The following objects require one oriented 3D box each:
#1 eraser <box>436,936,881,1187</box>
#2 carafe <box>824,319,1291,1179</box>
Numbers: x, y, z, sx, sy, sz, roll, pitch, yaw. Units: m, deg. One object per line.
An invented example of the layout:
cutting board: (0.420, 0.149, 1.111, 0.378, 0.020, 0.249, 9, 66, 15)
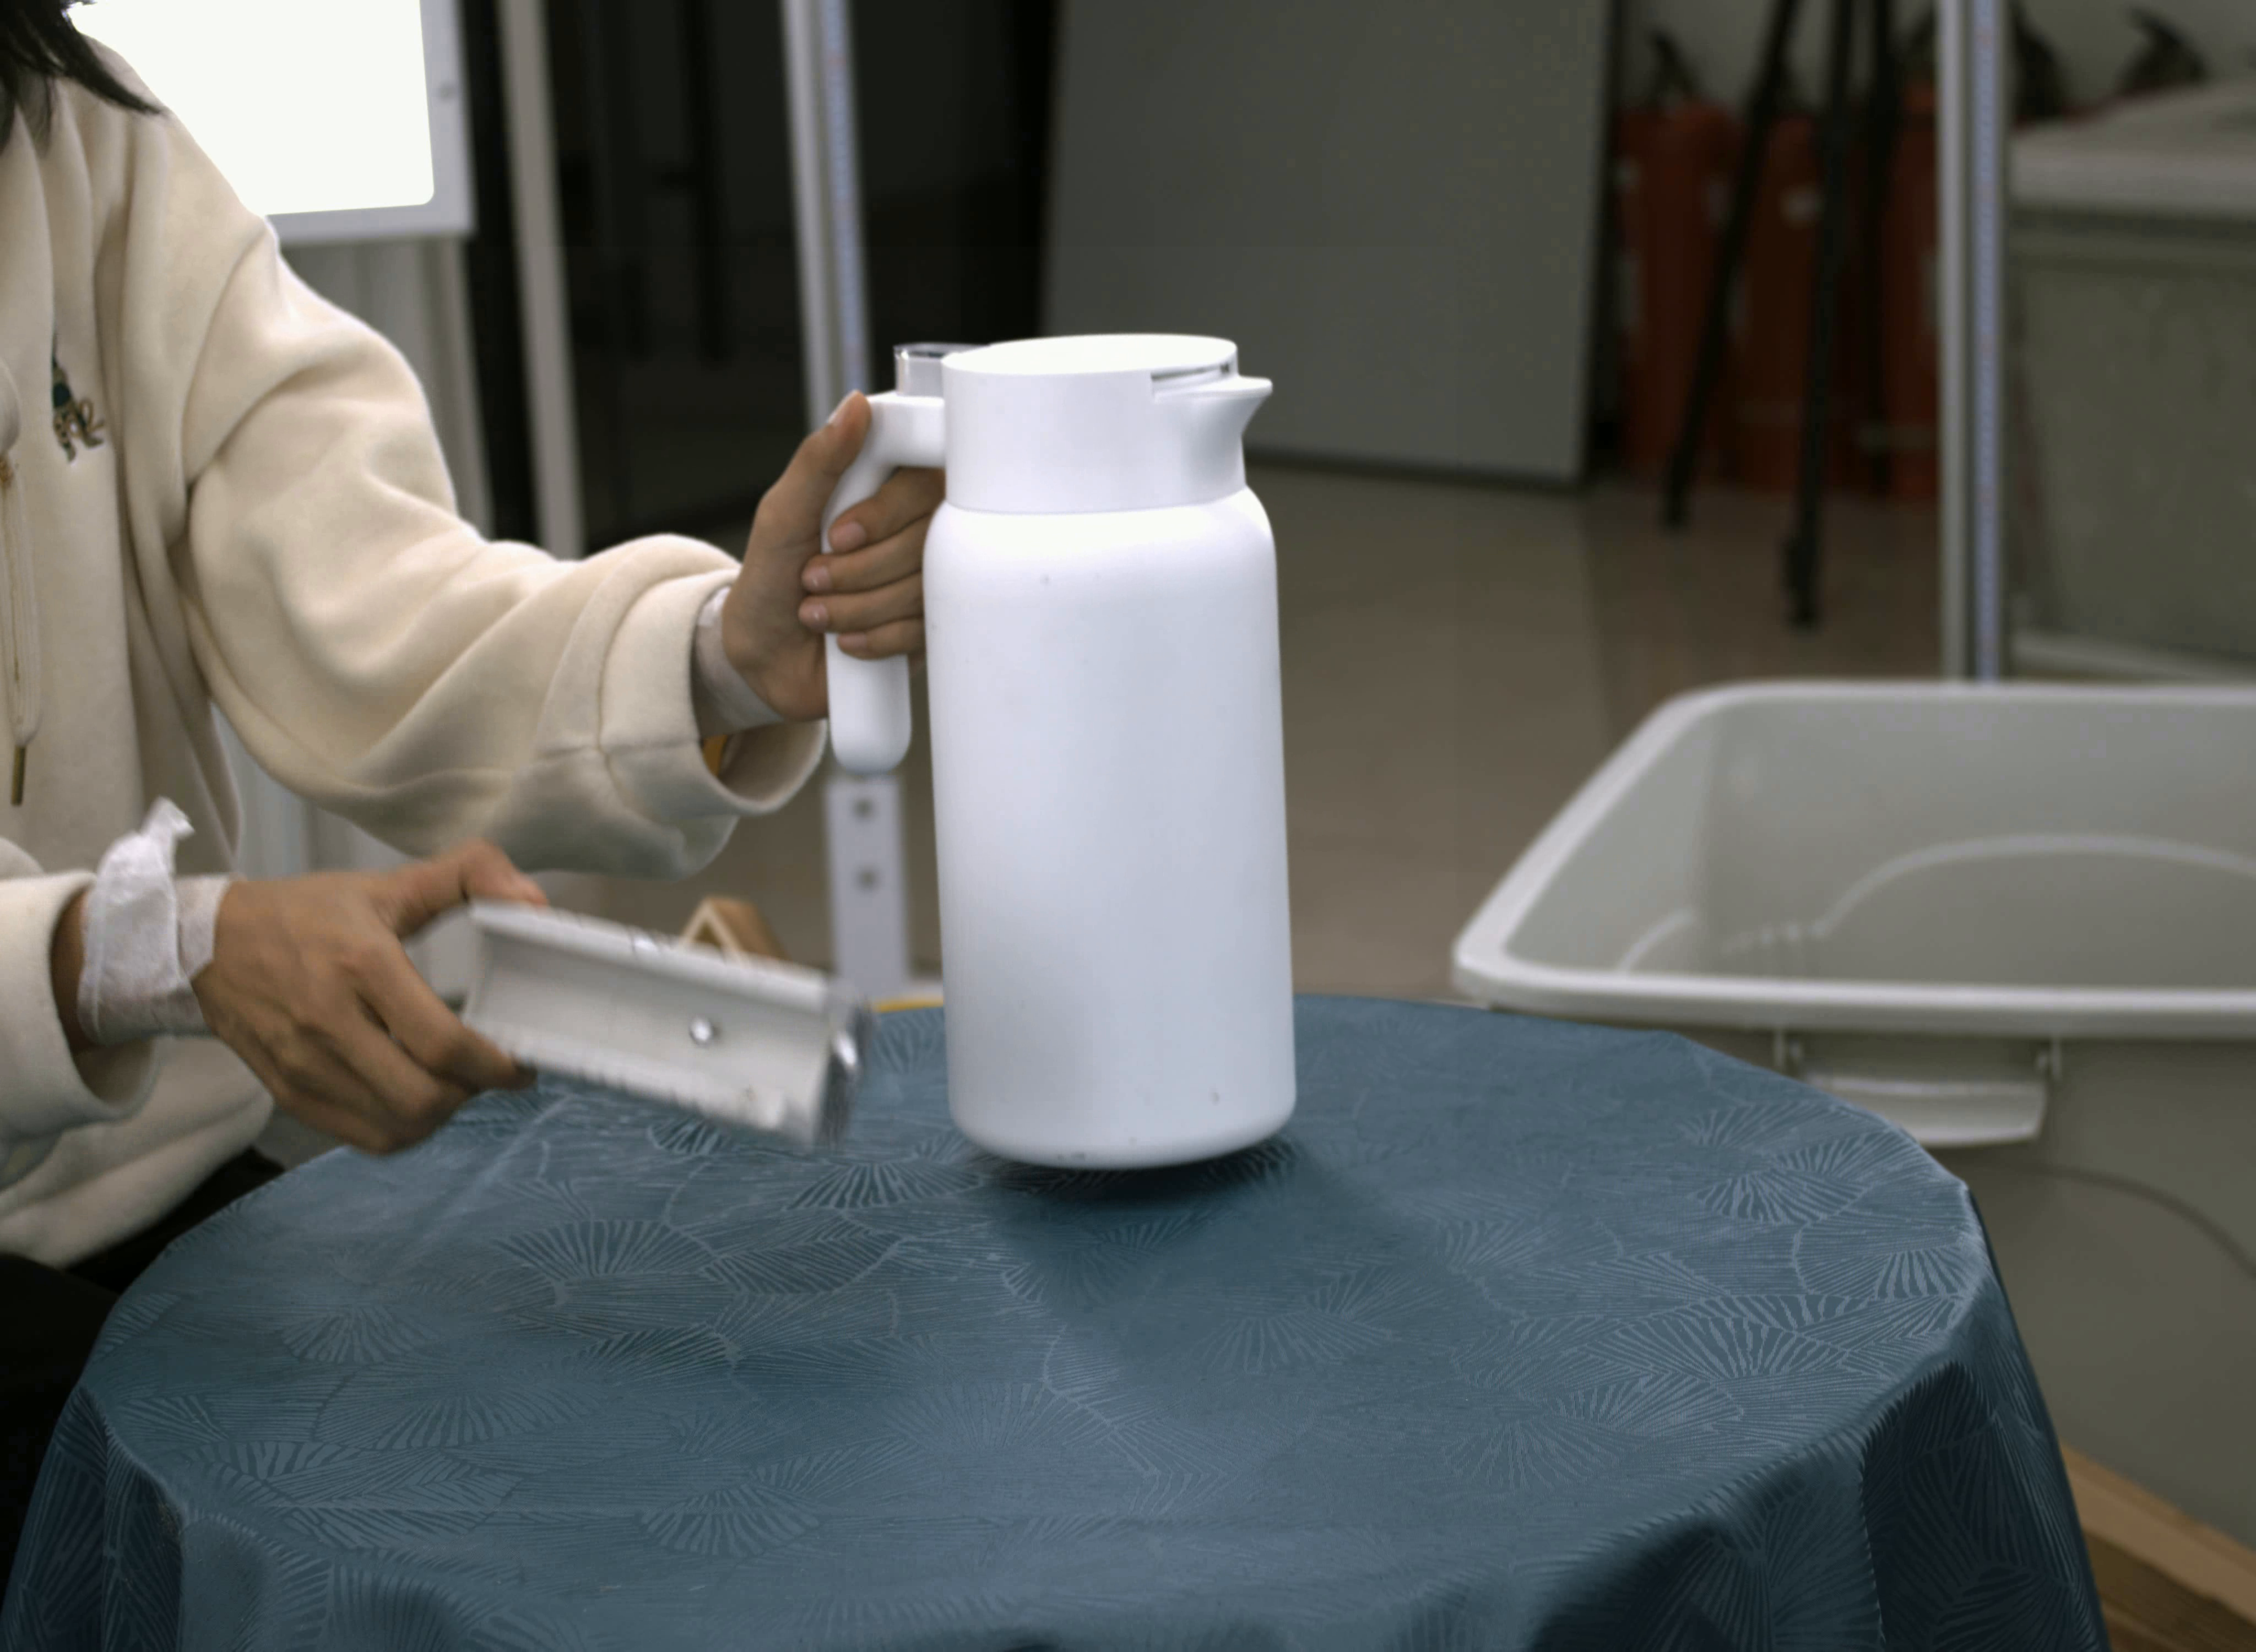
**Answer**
eraser: (-0.145, 0.073, 1.677, 0.135, 0.050, 0.046, 10, -12, 29)
carafe: (-0.022, -0.027, 1.788, 0.174, 0.272, 0.122, 5, 15, 34)
